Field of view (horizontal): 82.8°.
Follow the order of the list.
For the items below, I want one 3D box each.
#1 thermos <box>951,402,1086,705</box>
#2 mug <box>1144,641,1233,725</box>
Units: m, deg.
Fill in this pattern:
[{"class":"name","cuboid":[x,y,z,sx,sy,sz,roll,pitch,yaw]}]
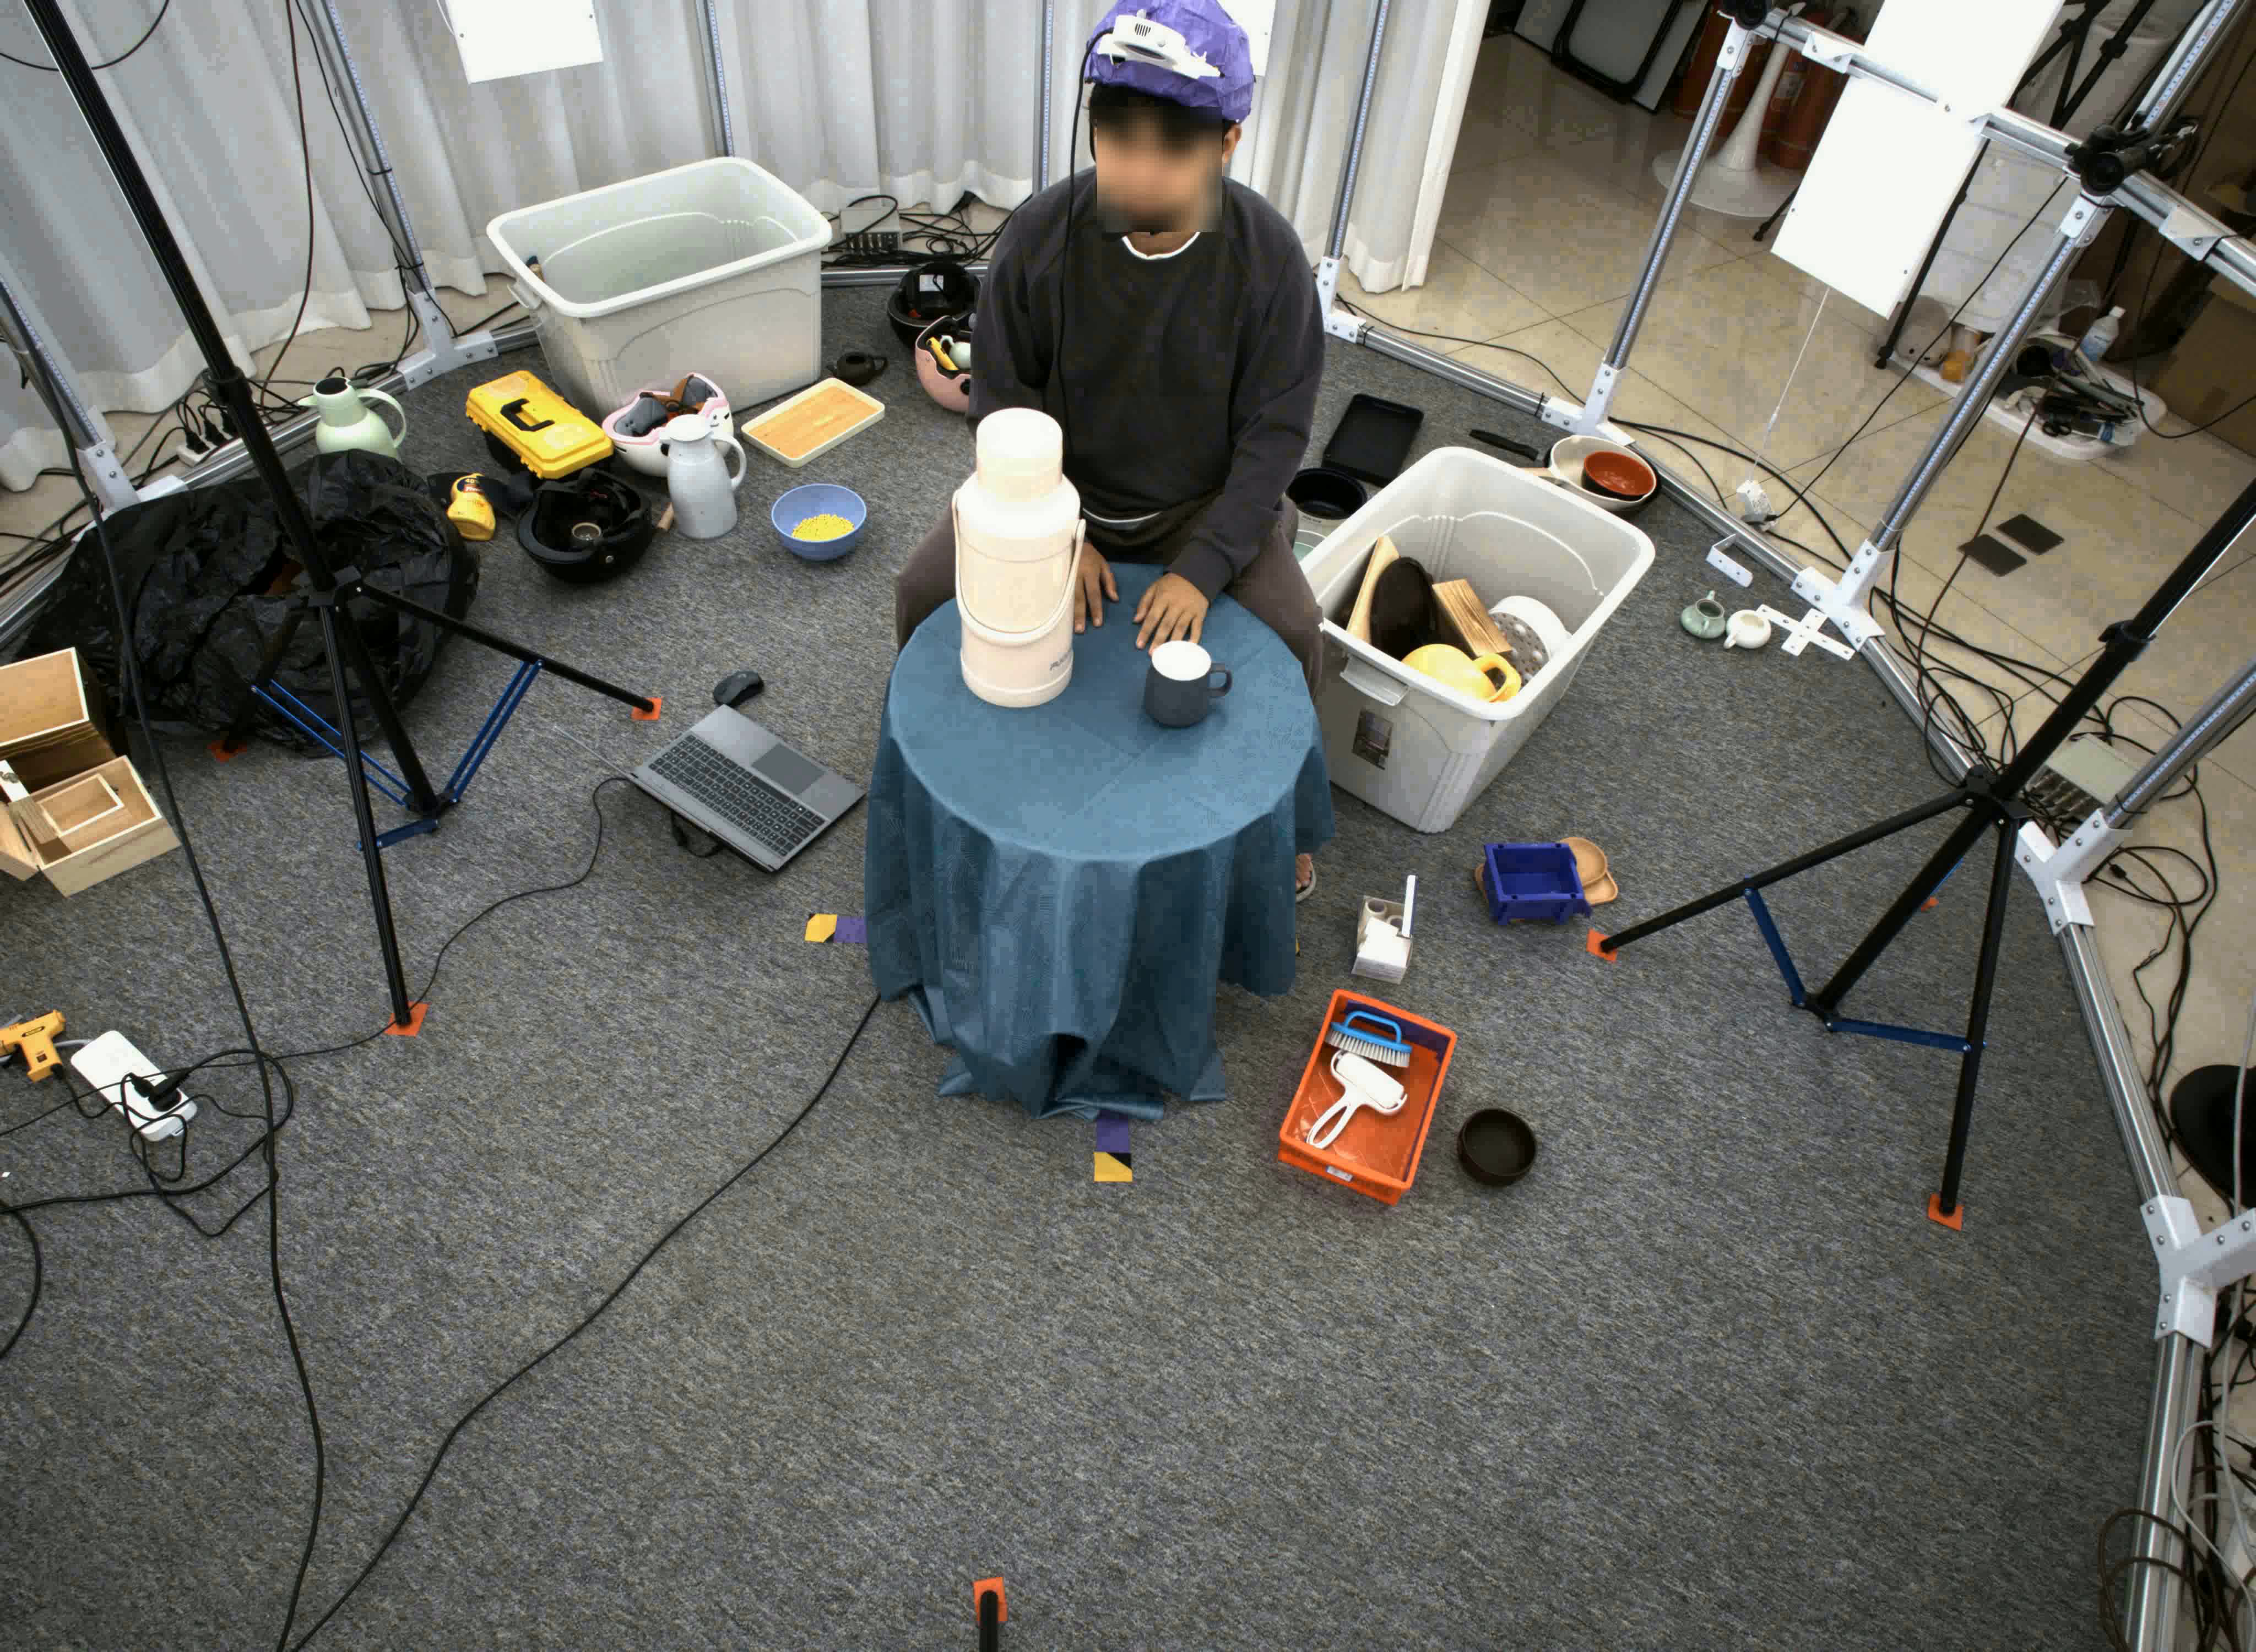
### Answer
[{"class":"thermos","cuboid":[-0.139,-0.364,1.714,0.176,0.396,0.211,15,50,8]},{"class":"mug","cuboid":[0.086,-0.199,1.786,0.123,0.088,0.096,-4,49,-8]}]
